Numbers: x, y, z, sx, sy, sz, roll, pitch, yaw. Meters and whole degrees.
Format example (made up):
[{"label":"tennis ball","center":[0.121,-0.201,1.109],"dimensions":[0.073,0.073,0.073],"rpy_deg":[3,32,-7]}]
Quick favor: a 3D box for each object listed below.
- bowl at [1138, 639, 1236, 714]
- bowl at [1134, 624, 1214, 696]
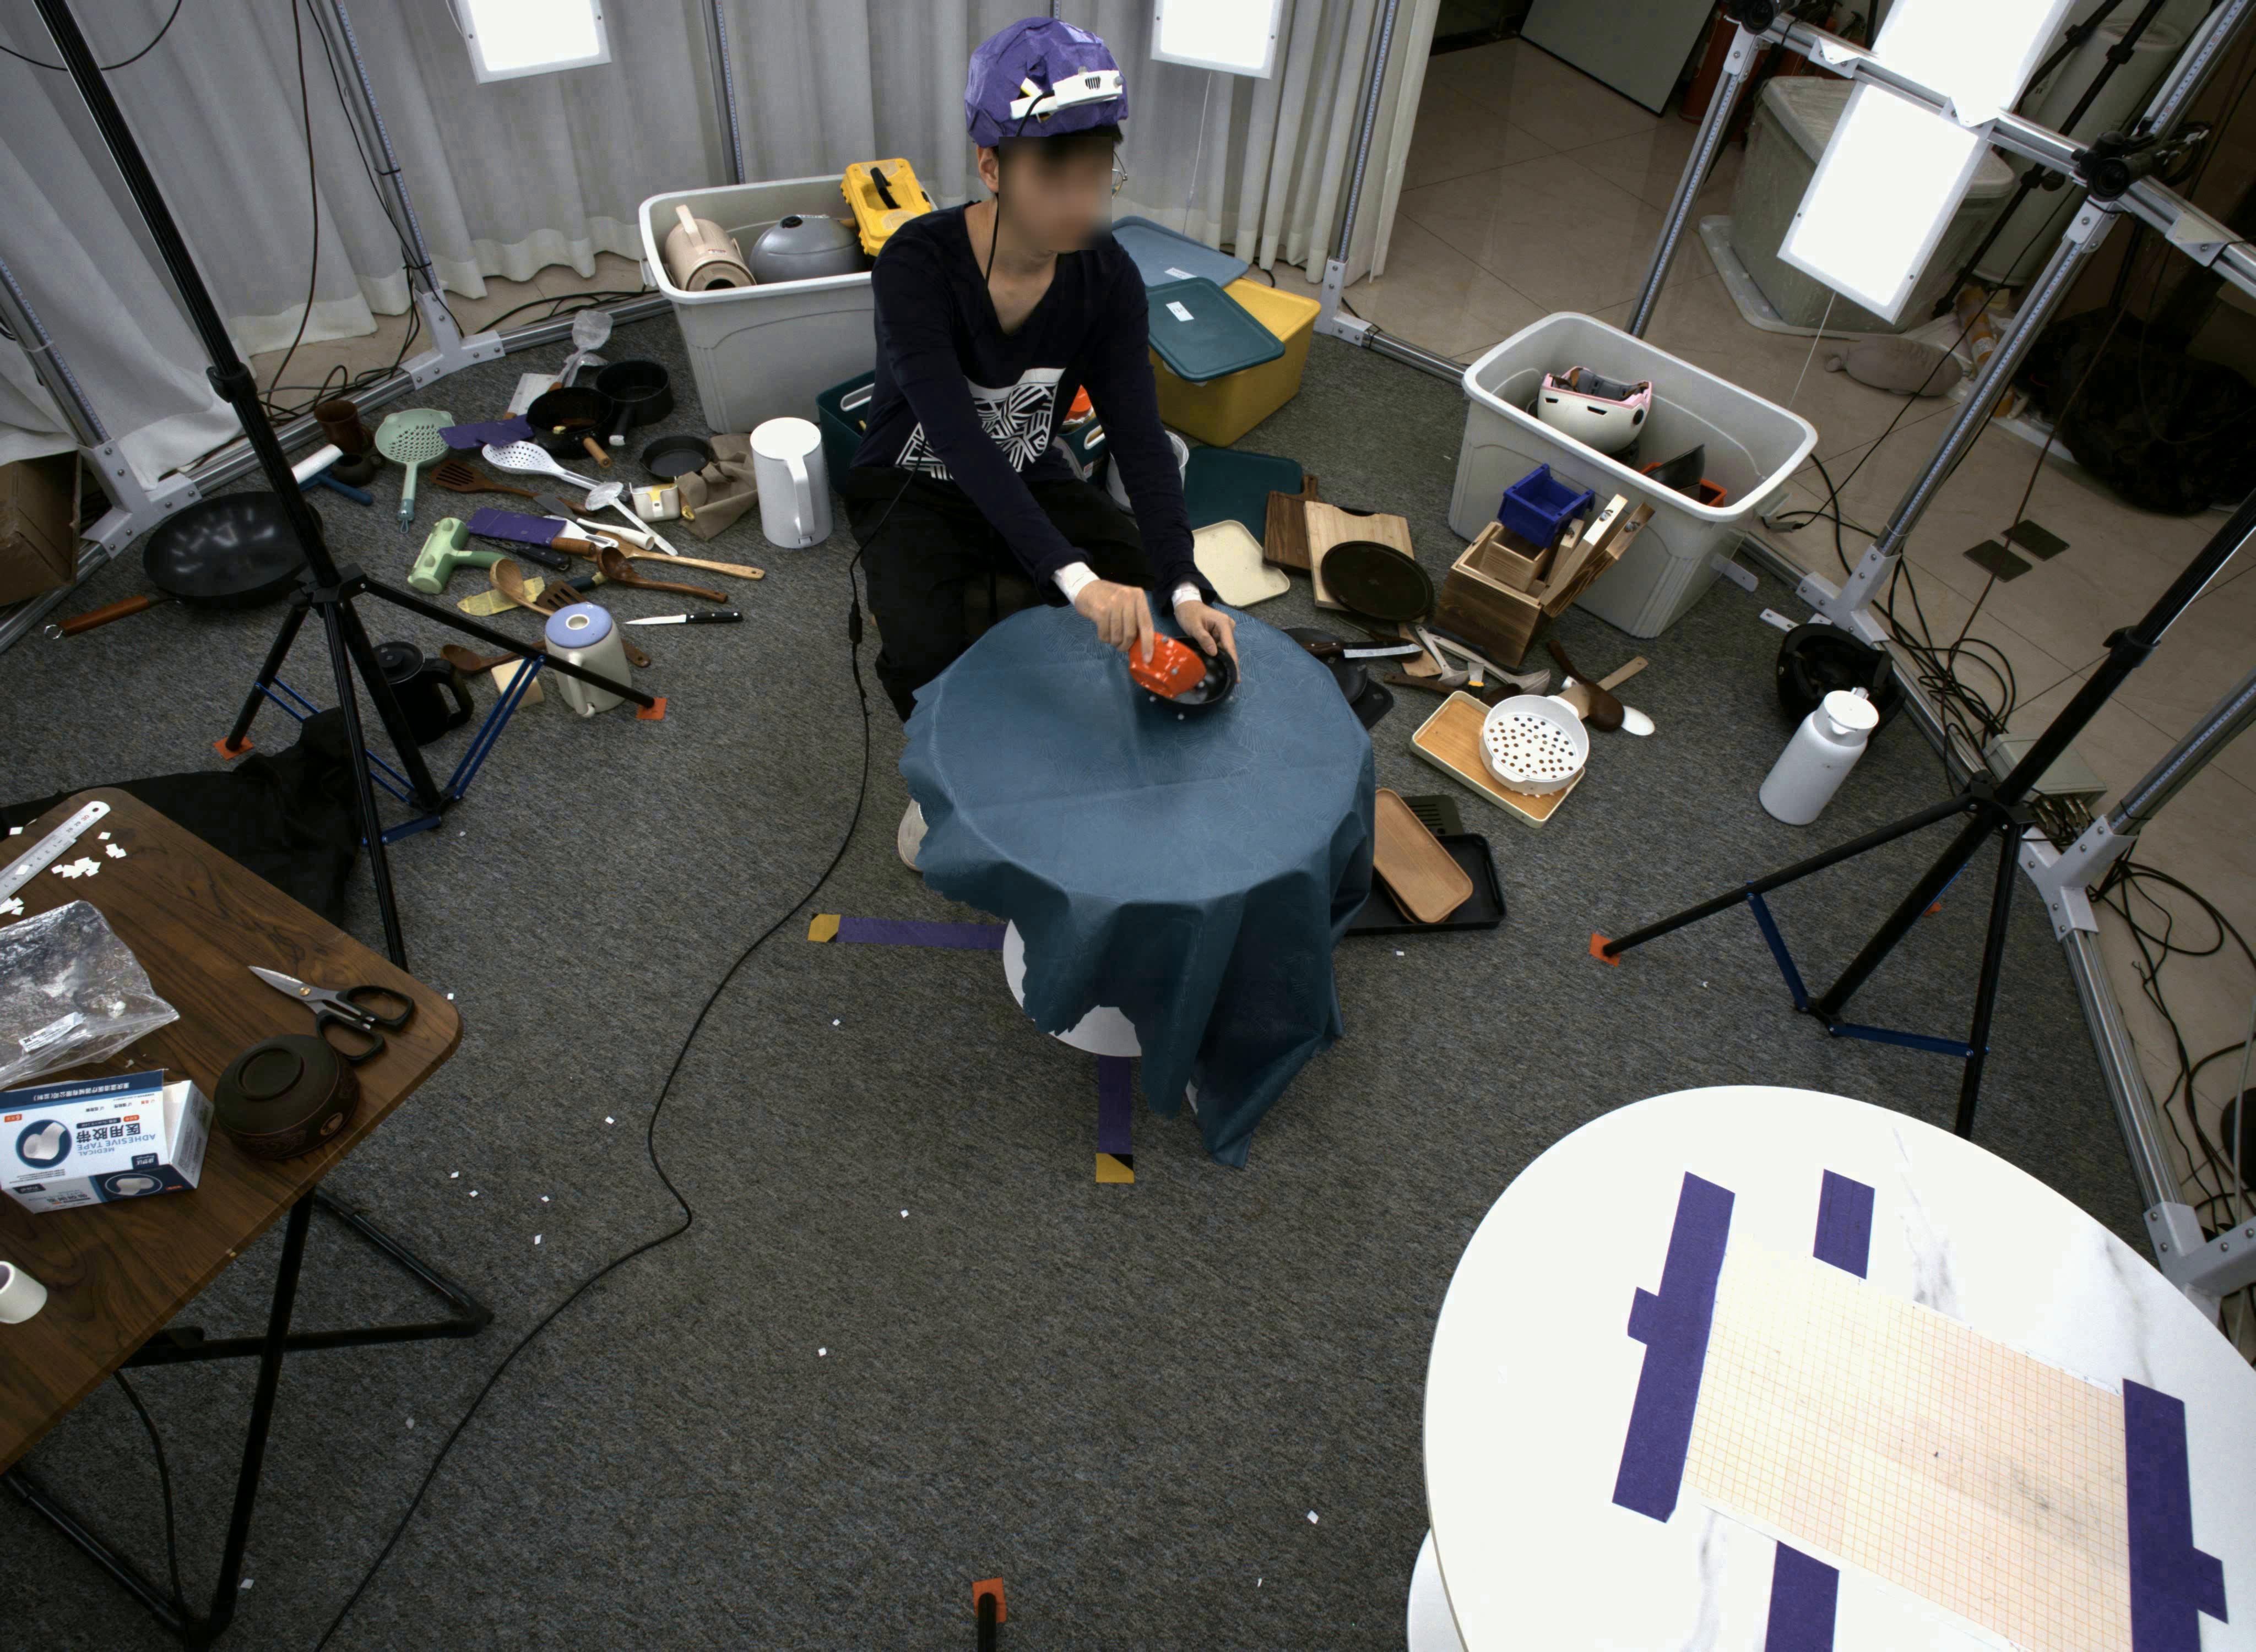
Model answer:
[{"label":"bowl","center":[0.083,-0.204,1.820],"dimensions":[0.140,0.048,0.143],"rpy_deg":[1,45,-1]},{"label":"bowl","center":[0.052,-0.215,1.703],"dimensions":[0.120,0.117,0.051],"rpy_deg":[35,94,23]}]
